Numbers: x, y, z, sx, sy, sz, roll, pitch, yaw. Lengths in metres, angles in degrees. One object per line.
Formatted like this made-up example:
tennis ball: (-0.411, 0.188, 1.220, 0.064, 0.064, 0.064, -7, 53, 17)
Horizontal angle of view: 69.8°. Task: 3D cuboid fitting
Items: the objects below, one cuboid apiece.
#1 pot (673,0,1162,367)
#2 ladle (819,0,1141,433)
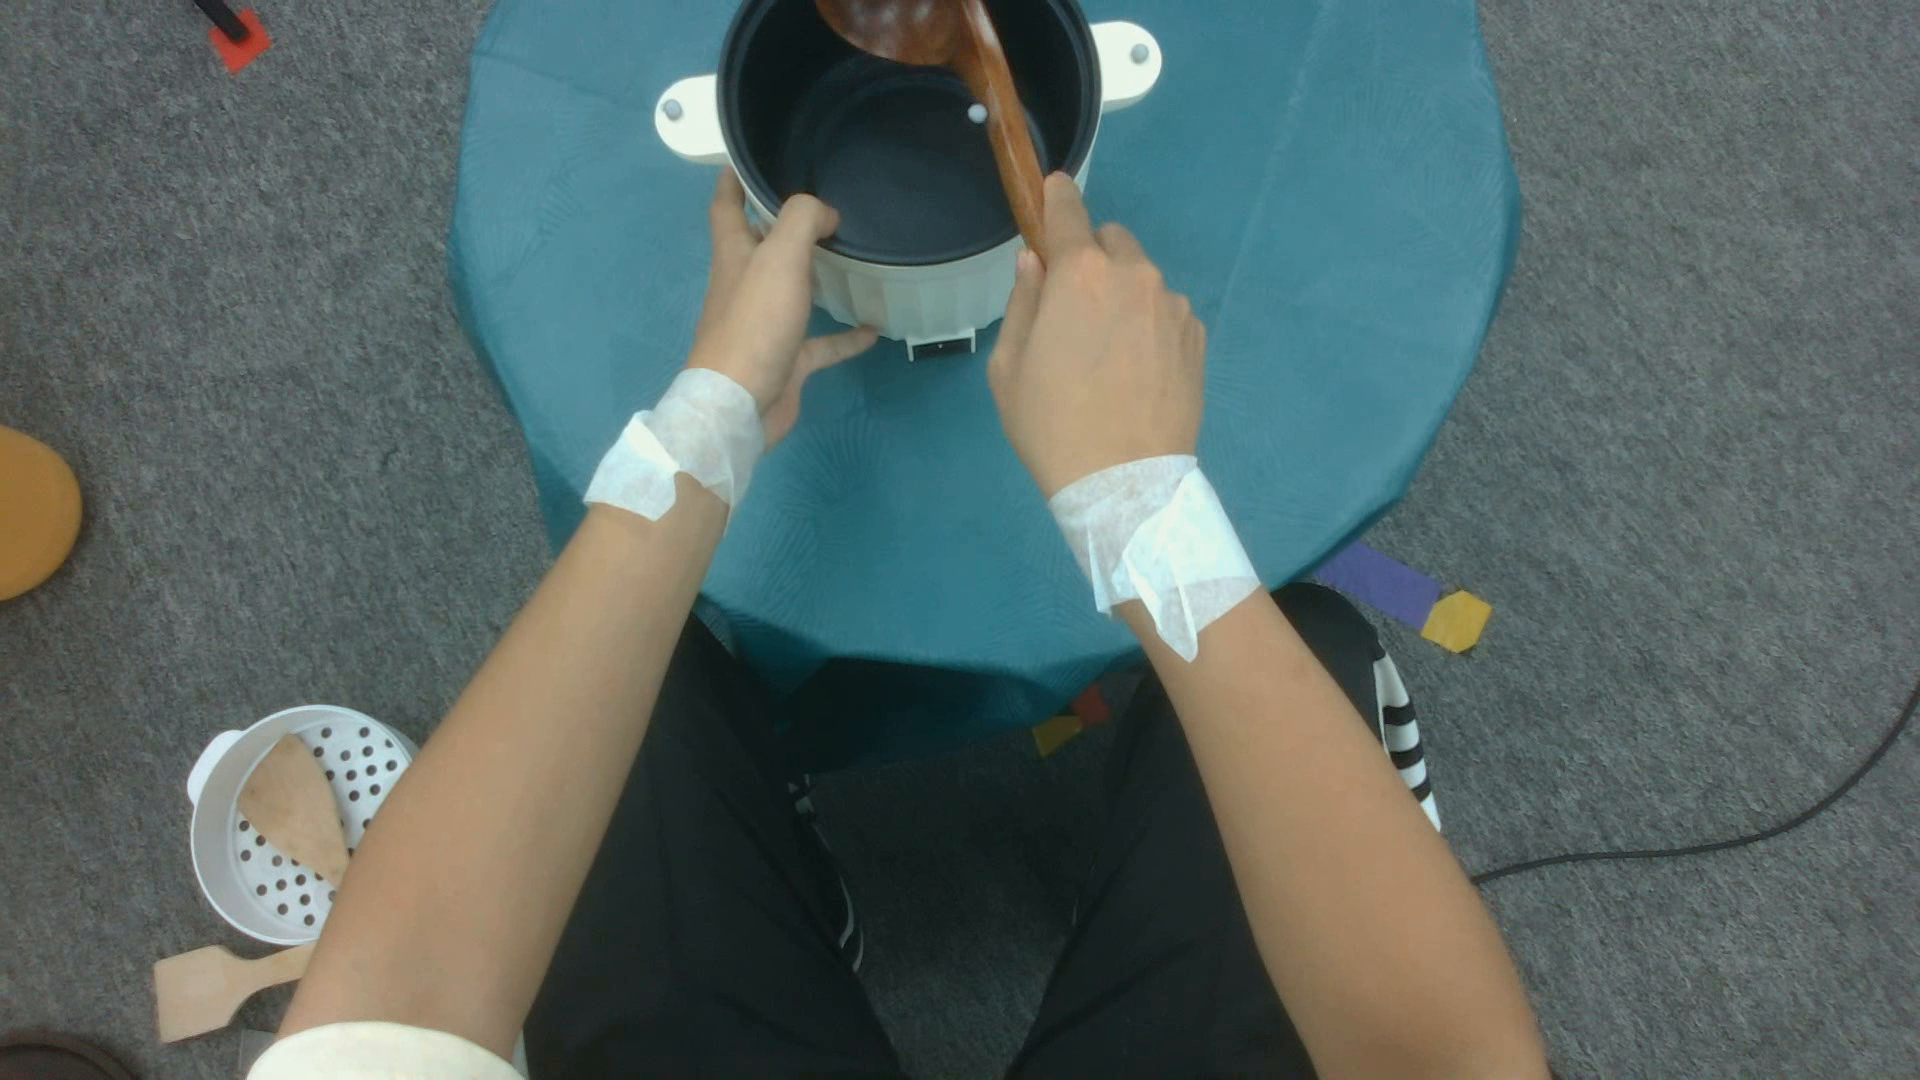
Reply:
pot: (-0.021, -0.201, 0.728, 0.240, 0.142, 0.191, -9, 80, -2)
ladle: (0.002, -0.165, 0.620, 0.077, 0.081, 0.275, -11, 67, -15)
